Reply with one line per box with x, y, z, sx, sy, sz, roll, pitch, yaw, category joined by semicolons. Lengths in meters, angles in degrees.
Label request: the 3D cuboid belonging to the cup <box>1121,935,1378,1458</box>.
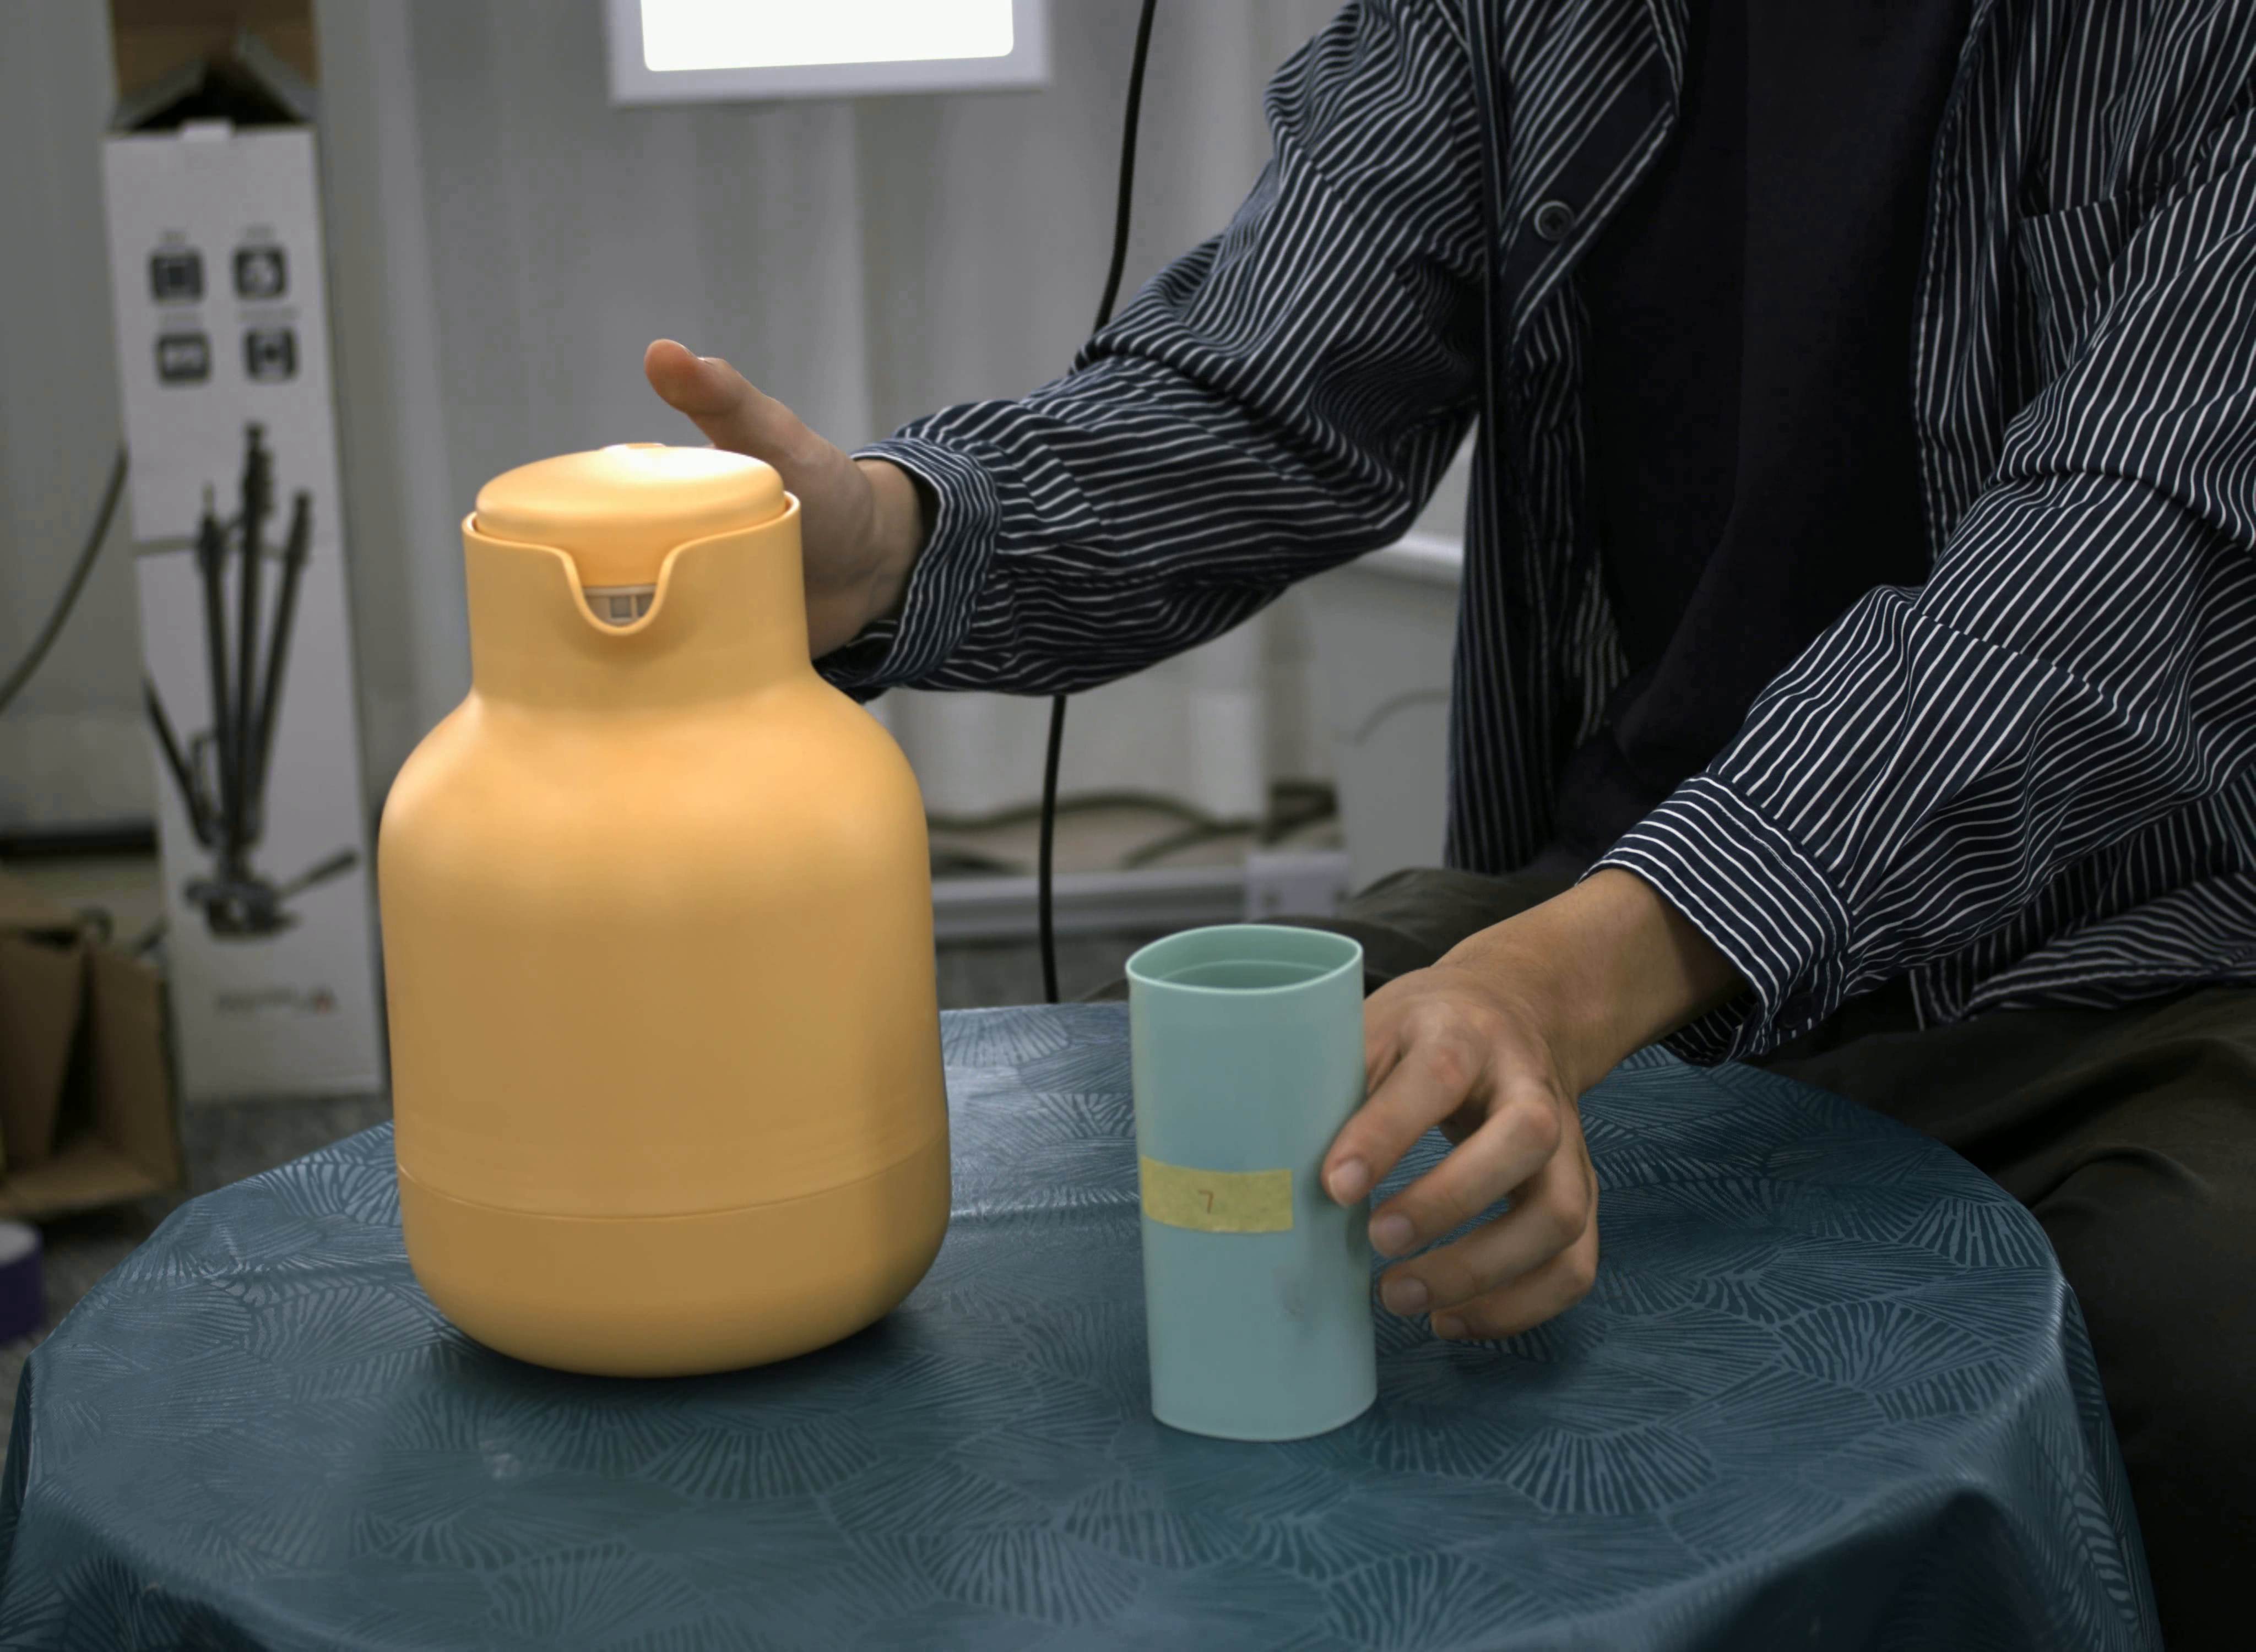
0.035;0.101;1.517;0.066;0.132;0.067;-3;14;1;cup

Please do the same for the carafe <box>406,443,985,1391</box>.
-0.128;0.018;1.605;0.163;0.259;0.204;-3;14;-3;carafe
